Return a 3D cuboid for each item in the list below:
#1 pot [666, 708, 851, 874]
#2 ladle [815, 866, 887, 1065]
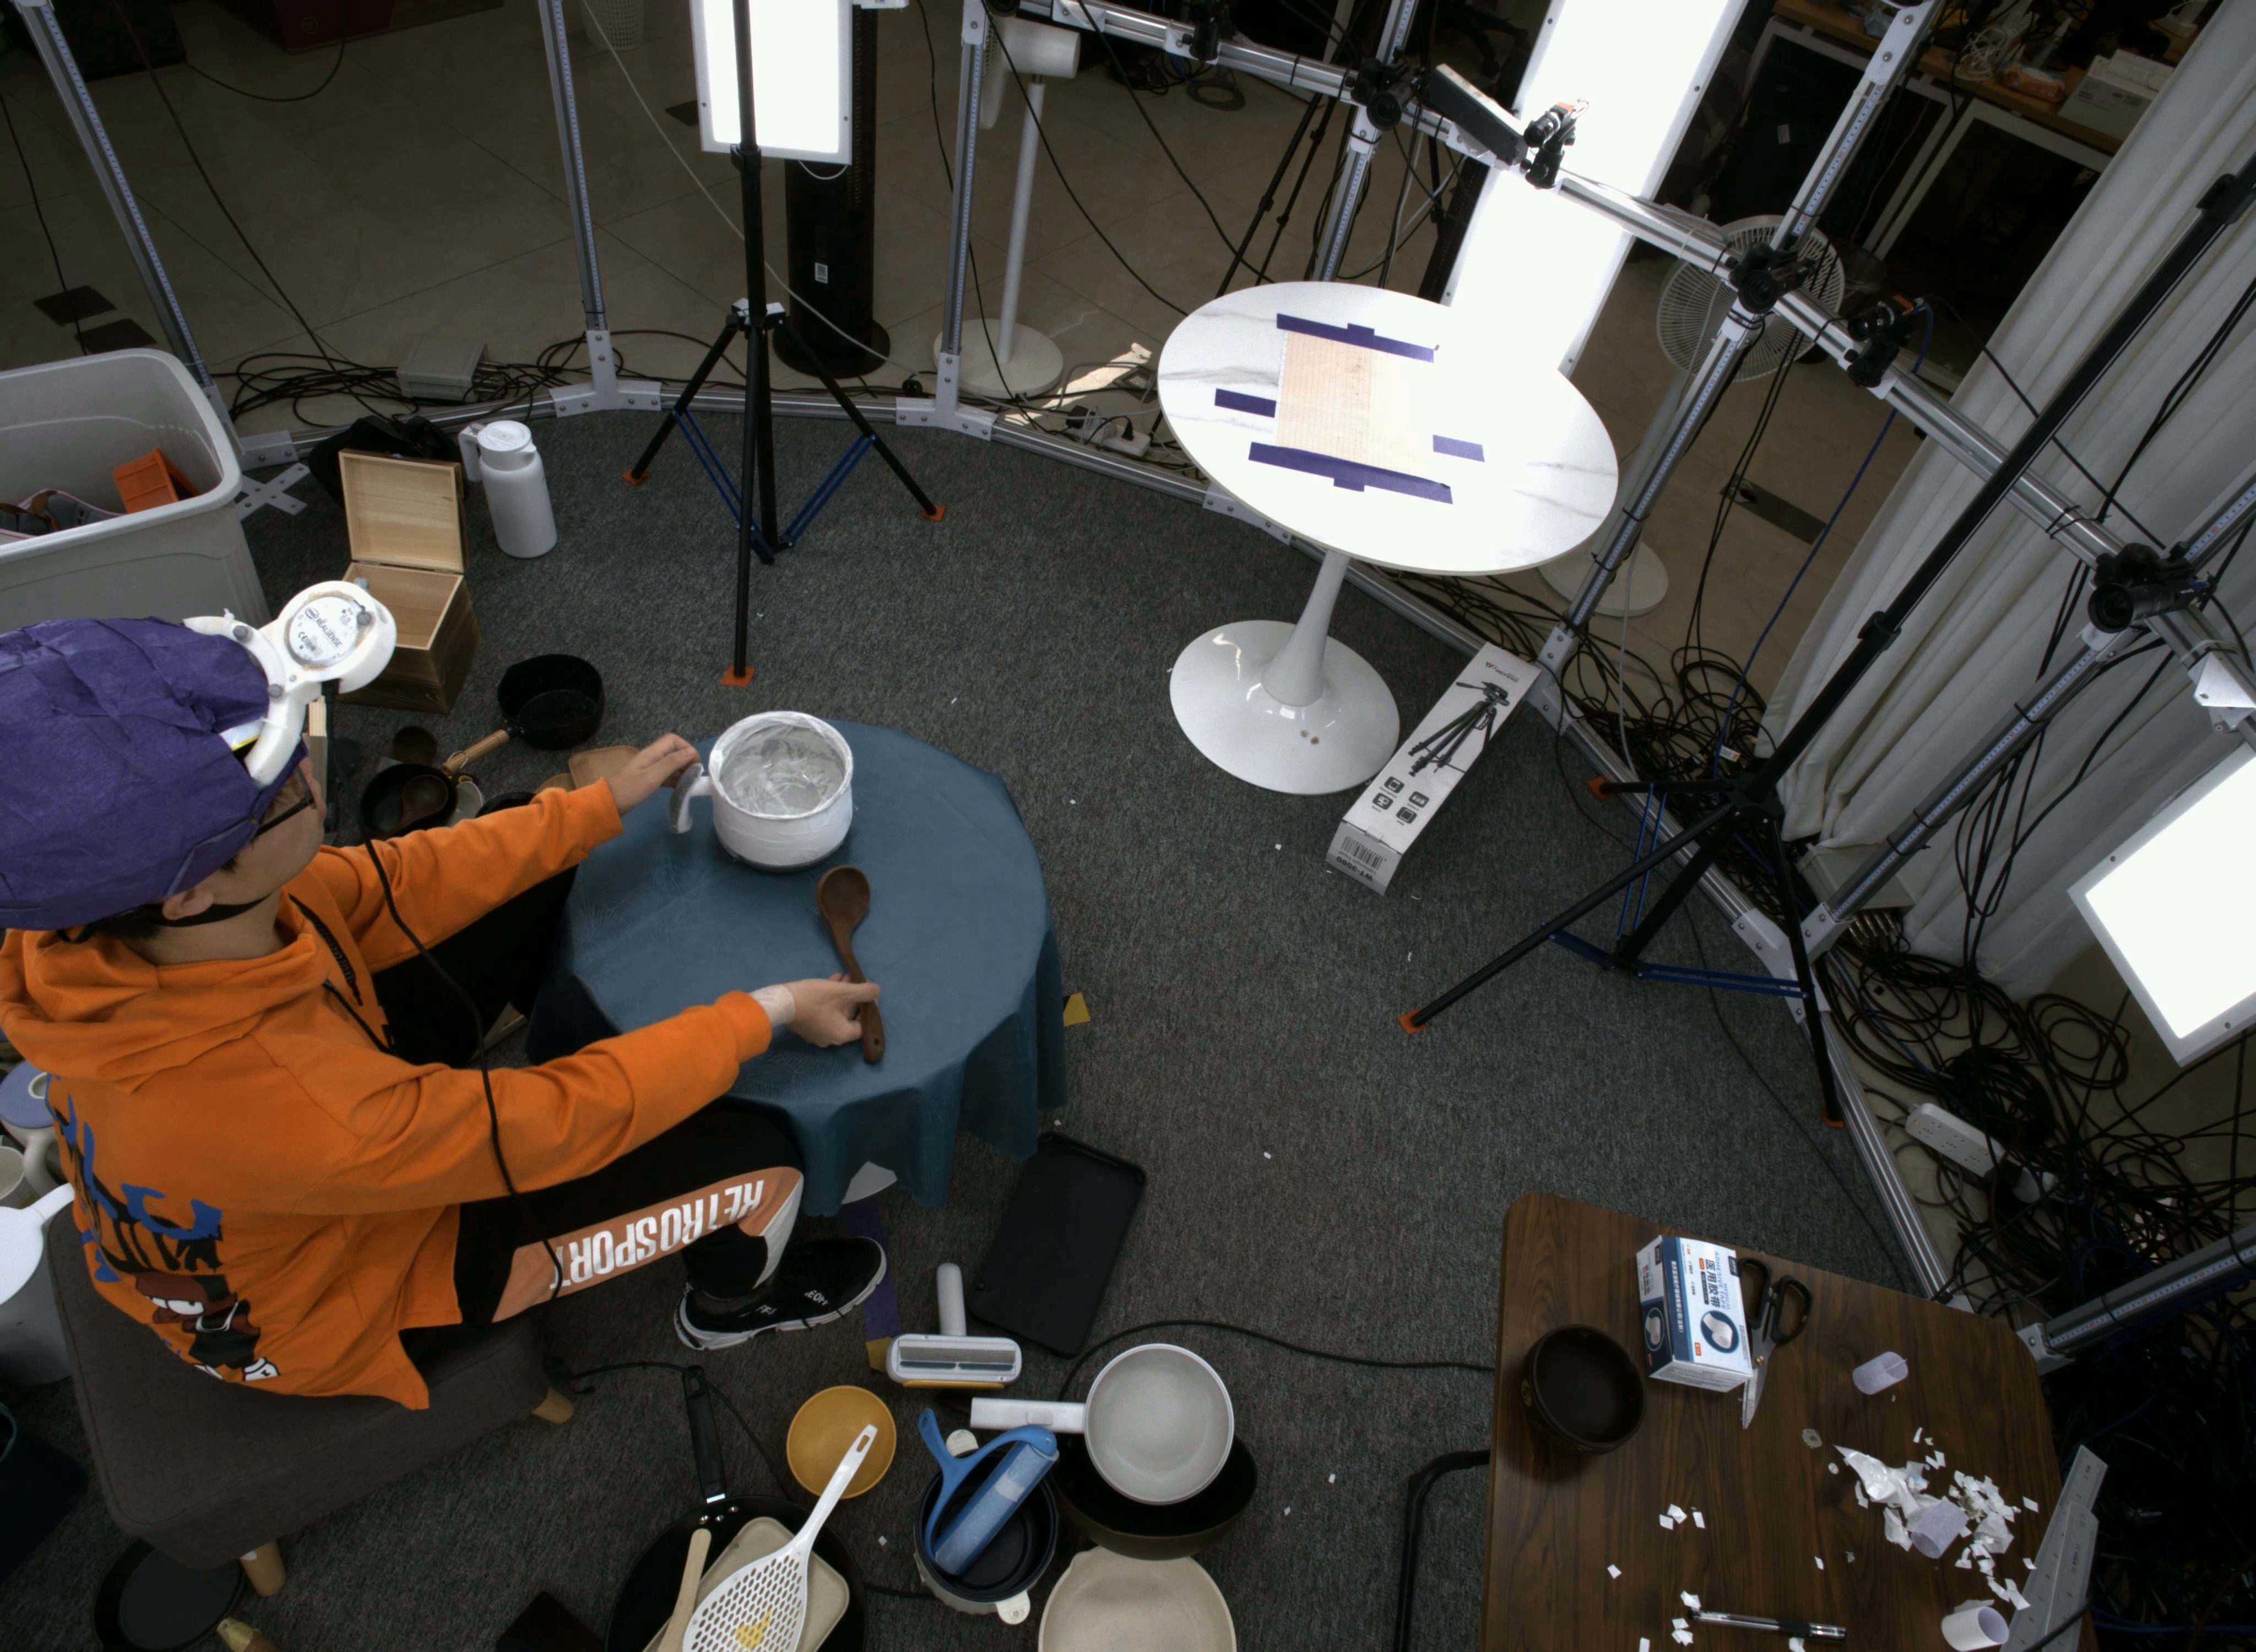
[{"bbox_3d":[-0.469,-0.039,1.642,0.235,0.139,0.174,-6,54,-18],"label":"pot"},{"bbox_3d":[-0.326,0.162,1.579,0.078,0.065,0.253,7,47,-41],"label":"ladle"}]
